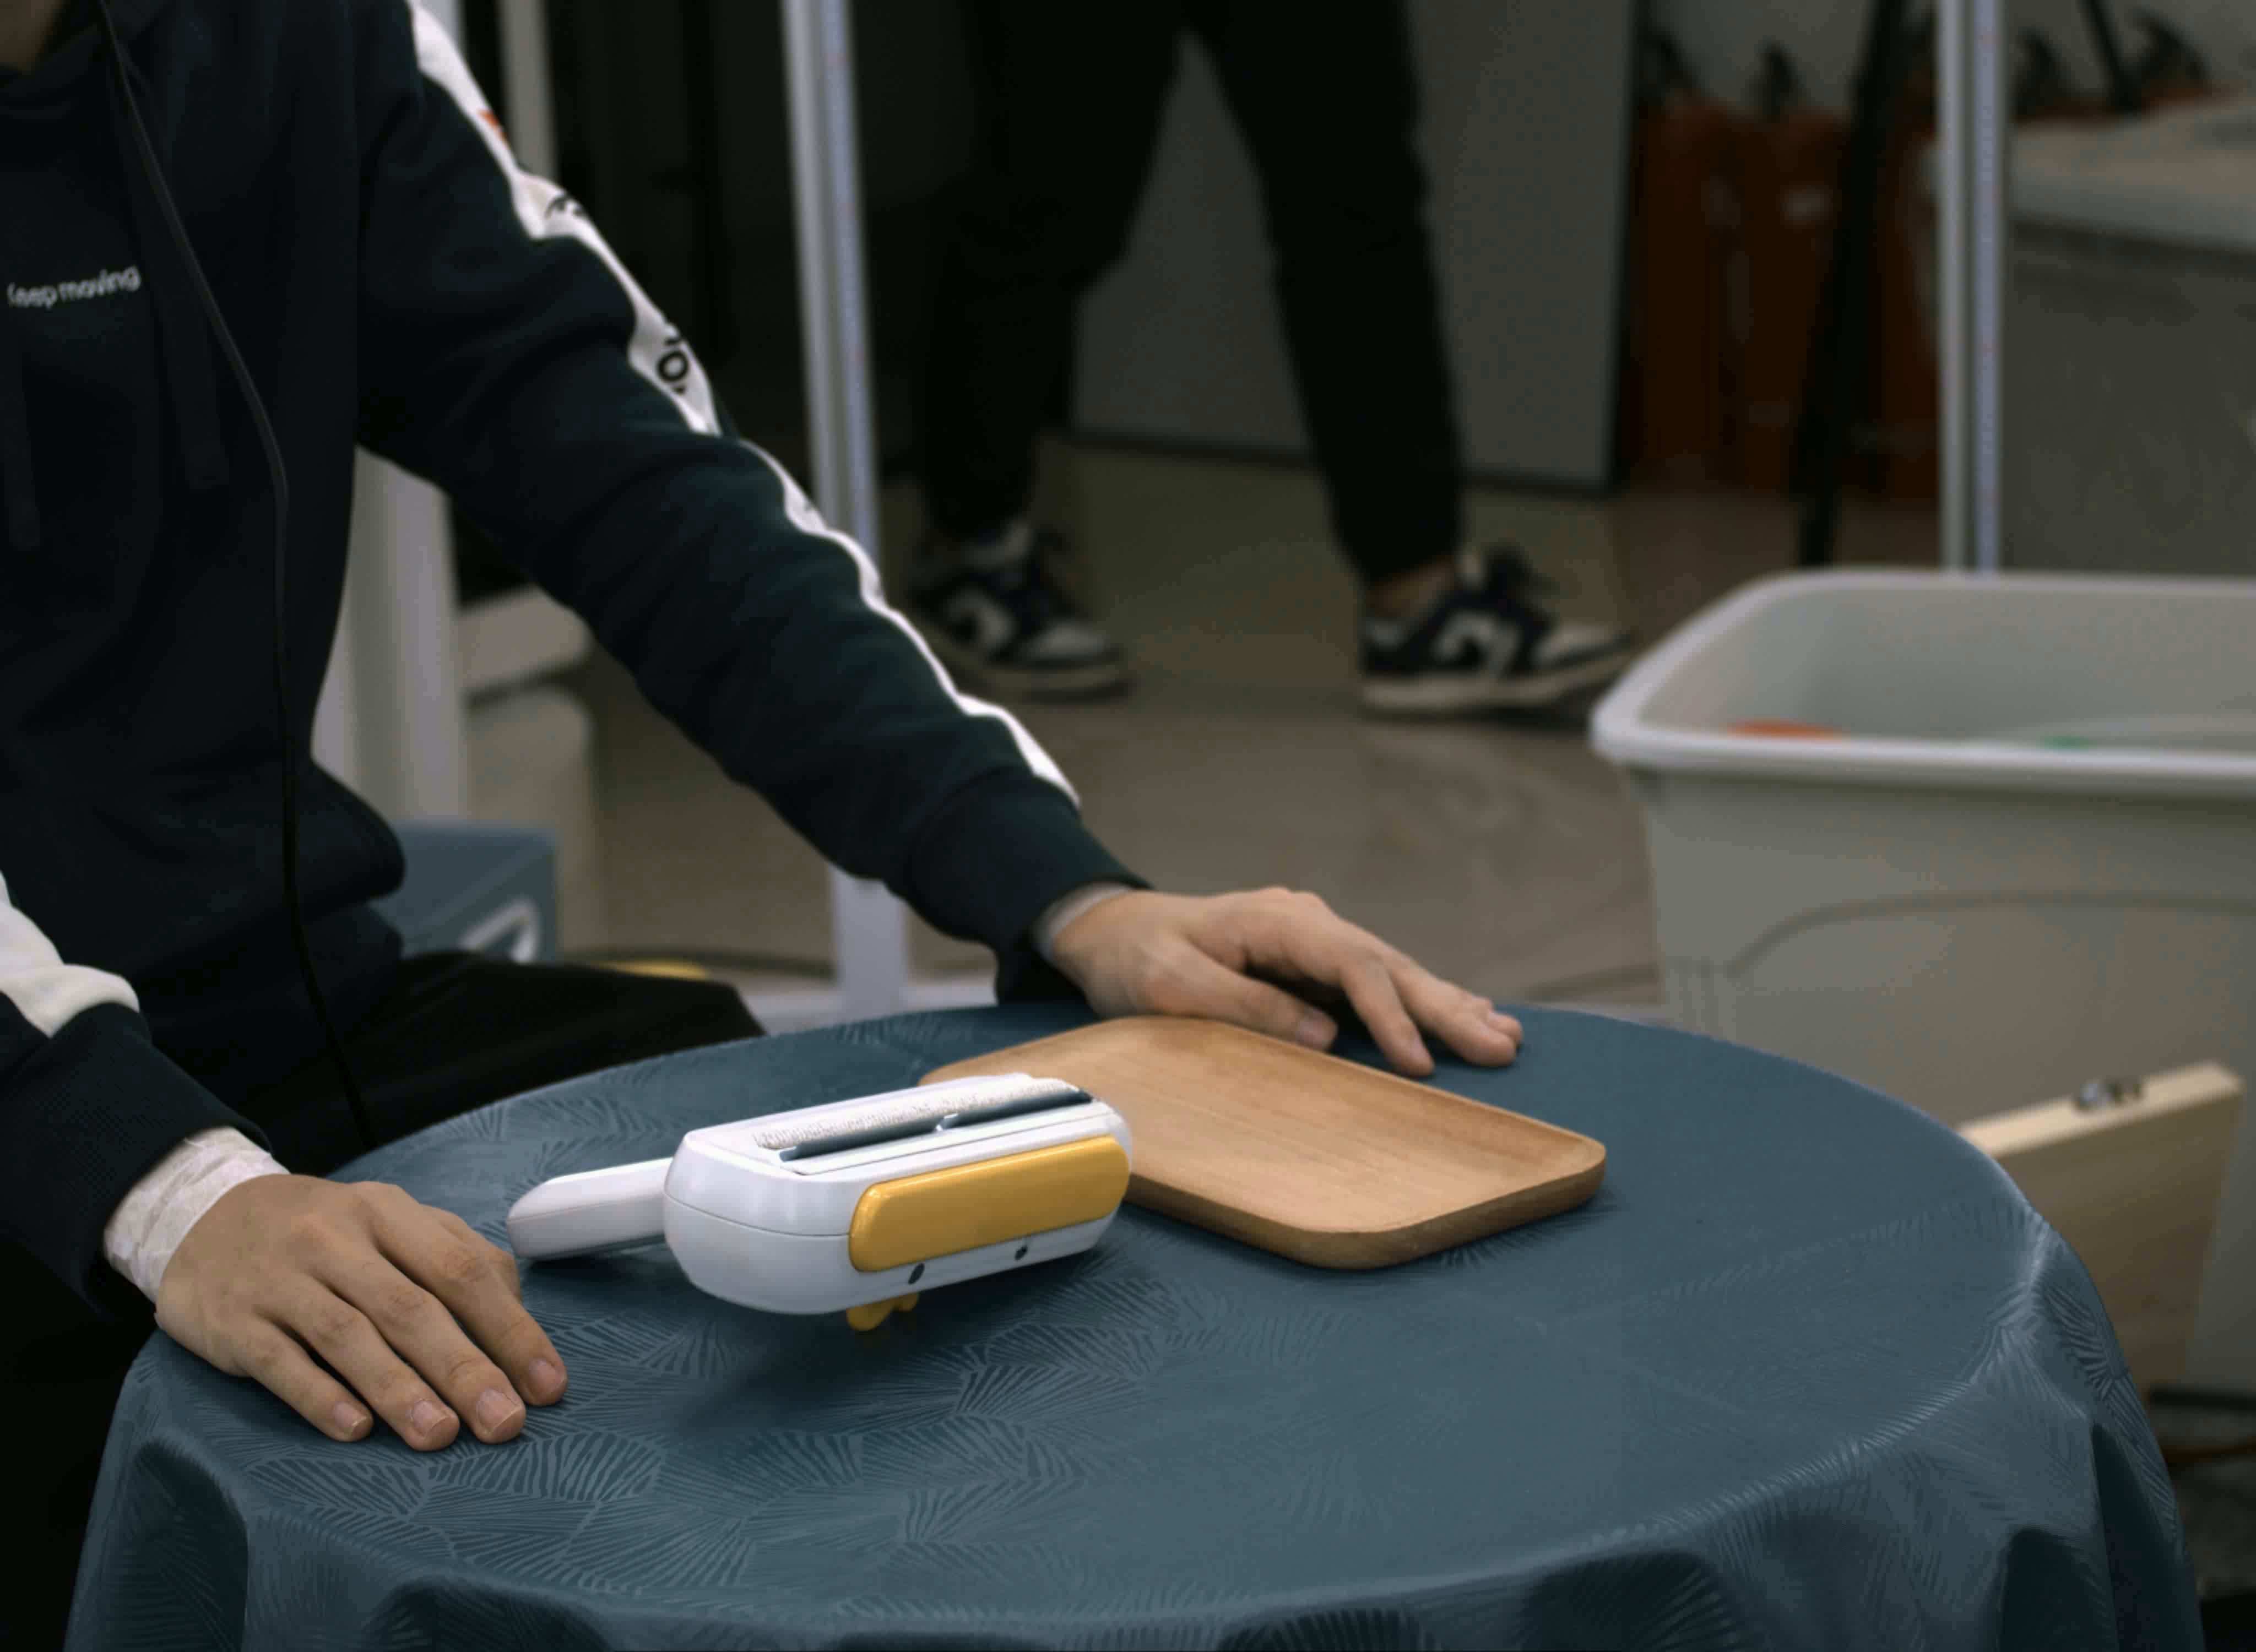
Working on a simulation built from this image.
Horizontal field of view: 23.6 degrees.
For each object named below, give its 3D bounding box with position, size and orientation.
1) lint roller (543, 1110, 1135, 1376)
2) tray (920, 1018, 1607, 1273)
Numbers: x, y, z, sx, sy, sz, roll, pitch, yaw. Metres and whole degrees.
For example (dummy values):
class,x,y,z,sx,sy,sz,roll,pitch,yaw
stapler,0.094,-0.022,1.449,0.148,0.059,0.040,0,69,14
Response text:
class,x,y,z,sx,sy,sz,roll,pitch,yaw
lint roller,-0.114,0.134,1.689,0.194,0.075,0.189,-12,-2,40
tray,0.042,0.104,1.795,0.127,0.023,0.253,-11,15,-34
